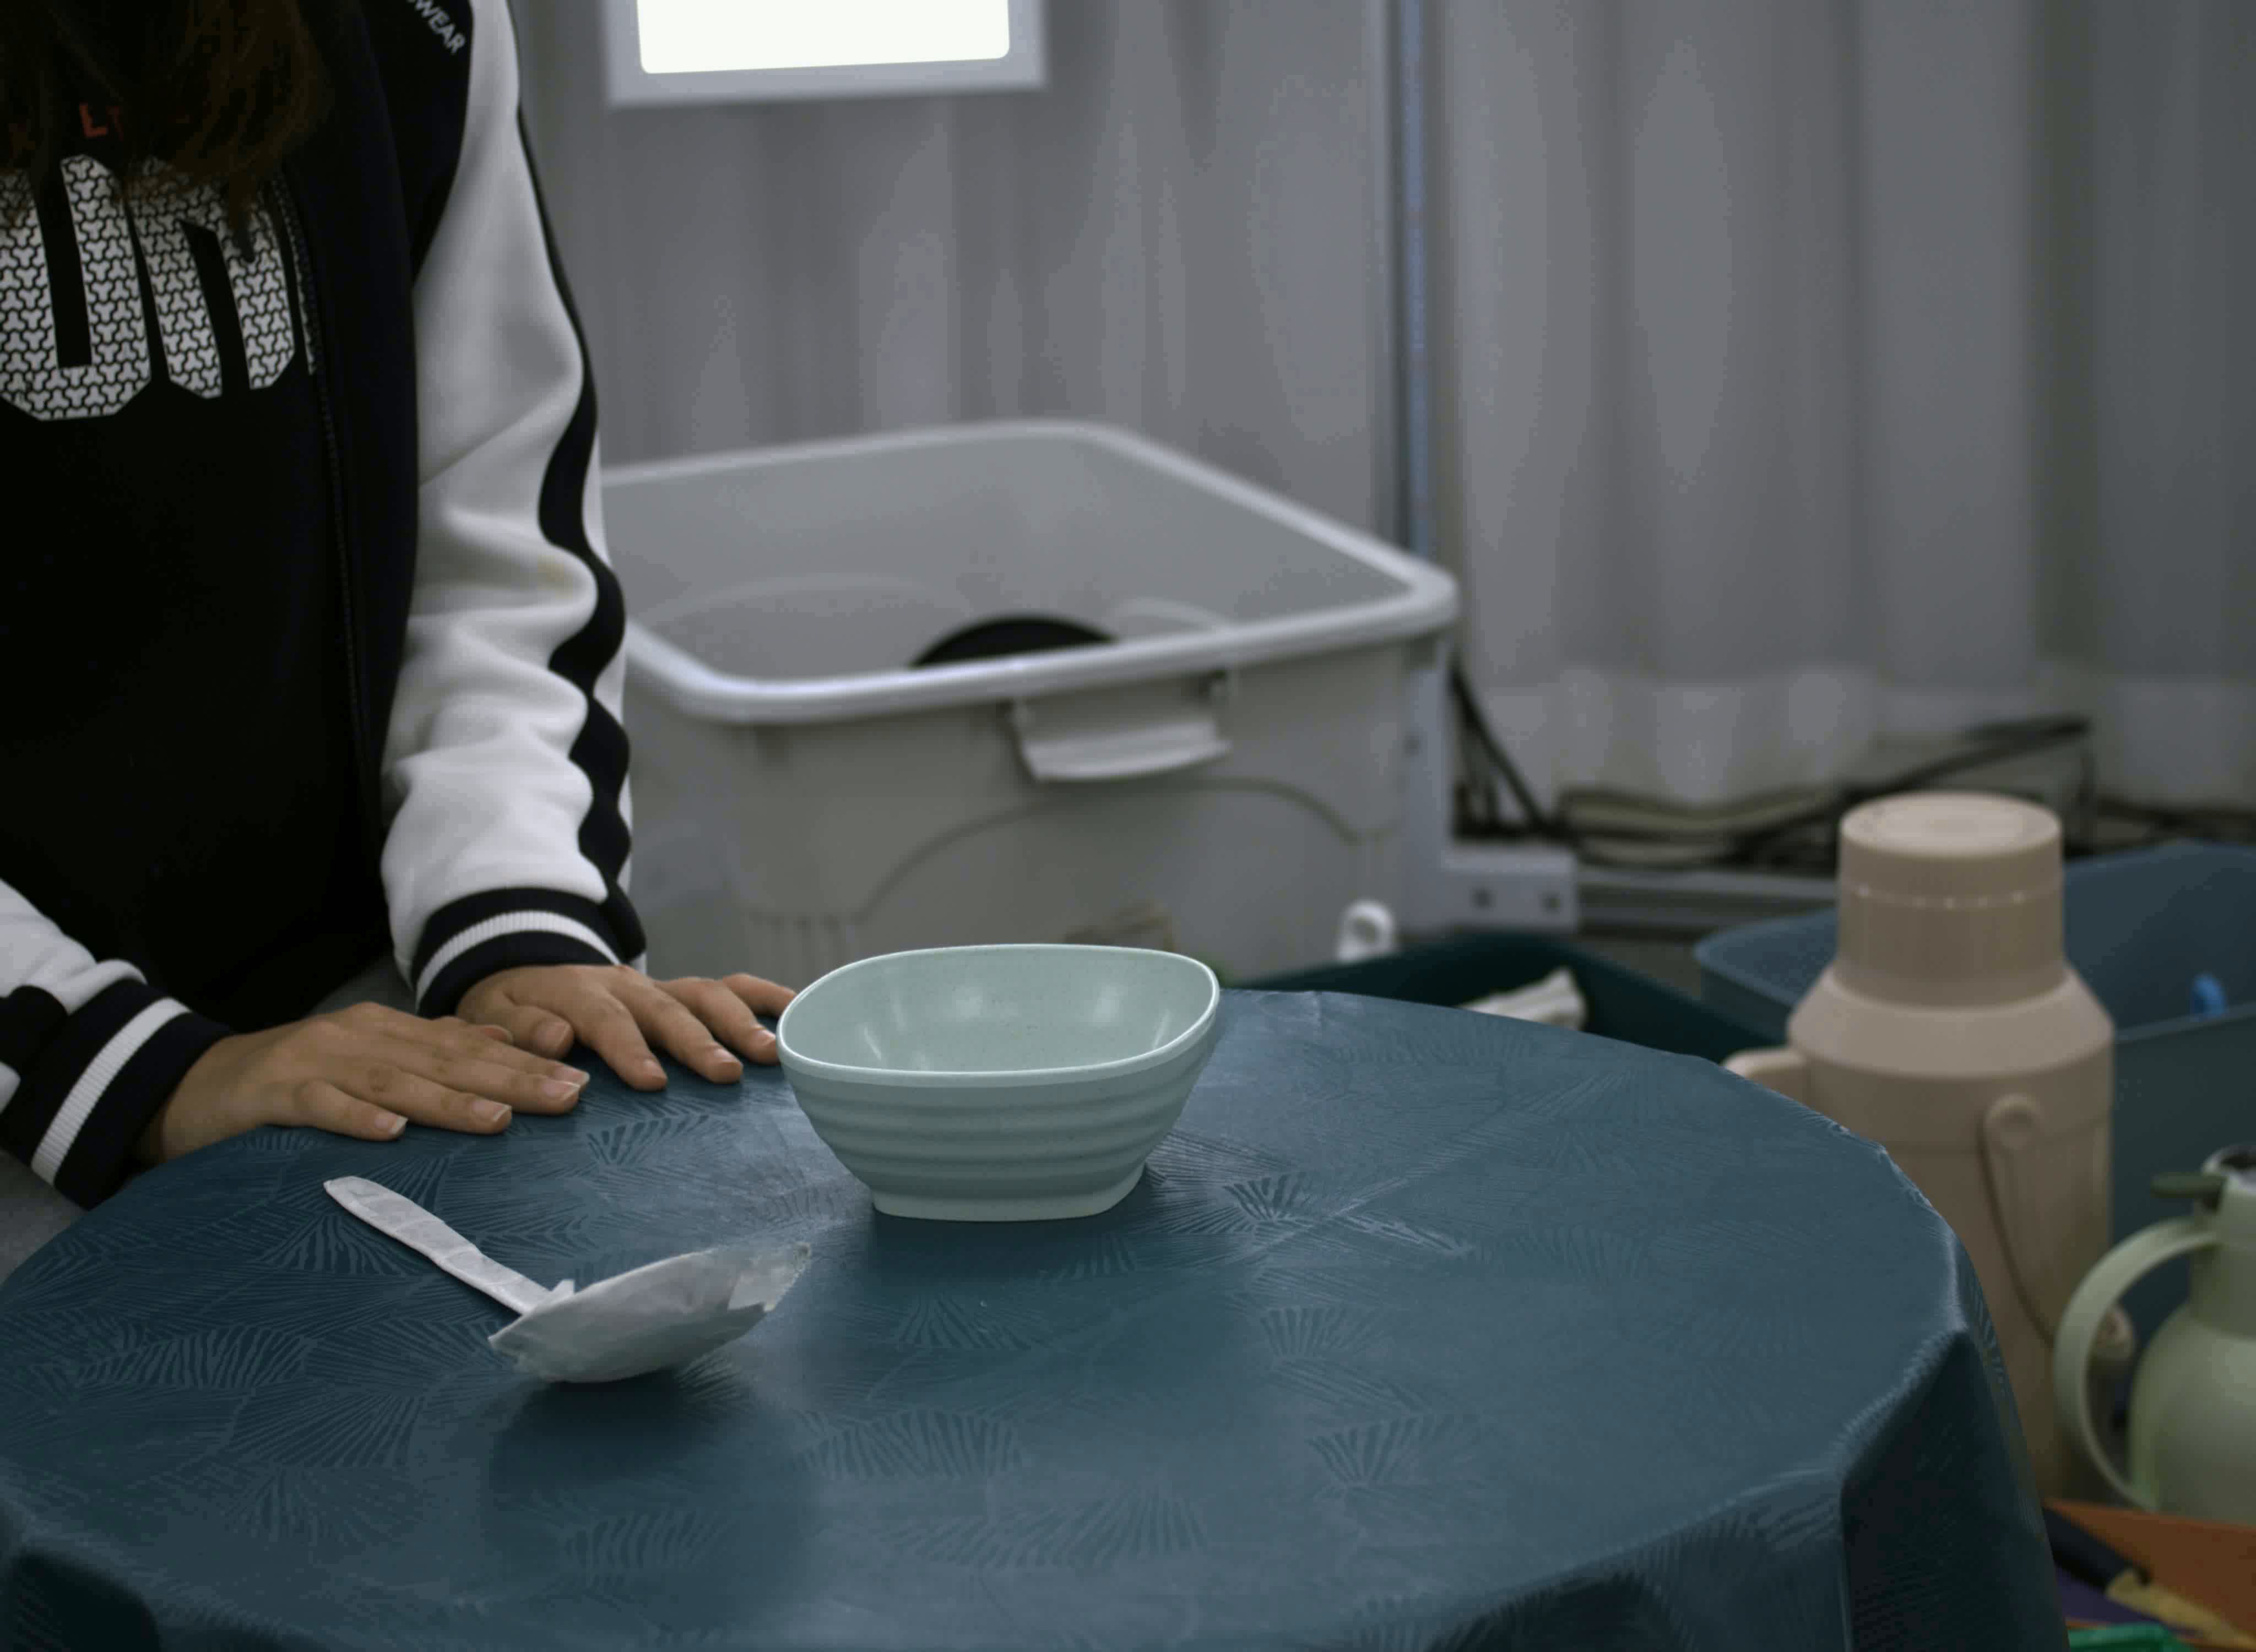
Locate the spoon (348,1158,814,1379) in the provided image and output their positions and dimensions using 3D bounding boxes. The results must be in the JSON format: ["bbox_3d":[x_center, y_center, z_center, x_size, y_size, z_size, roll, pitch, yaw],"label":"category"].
[{"bbox_3d":[-0.178,0.114,1.641,0.100,0.059,0.279,-5,14,-27],"label":"spoon"}]

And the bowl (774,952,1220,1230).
[{"bbox_3d":[-0.040,0.087,1.726,0.151,0.058,0.152,-3,15,0],"label":"bowl"}]
